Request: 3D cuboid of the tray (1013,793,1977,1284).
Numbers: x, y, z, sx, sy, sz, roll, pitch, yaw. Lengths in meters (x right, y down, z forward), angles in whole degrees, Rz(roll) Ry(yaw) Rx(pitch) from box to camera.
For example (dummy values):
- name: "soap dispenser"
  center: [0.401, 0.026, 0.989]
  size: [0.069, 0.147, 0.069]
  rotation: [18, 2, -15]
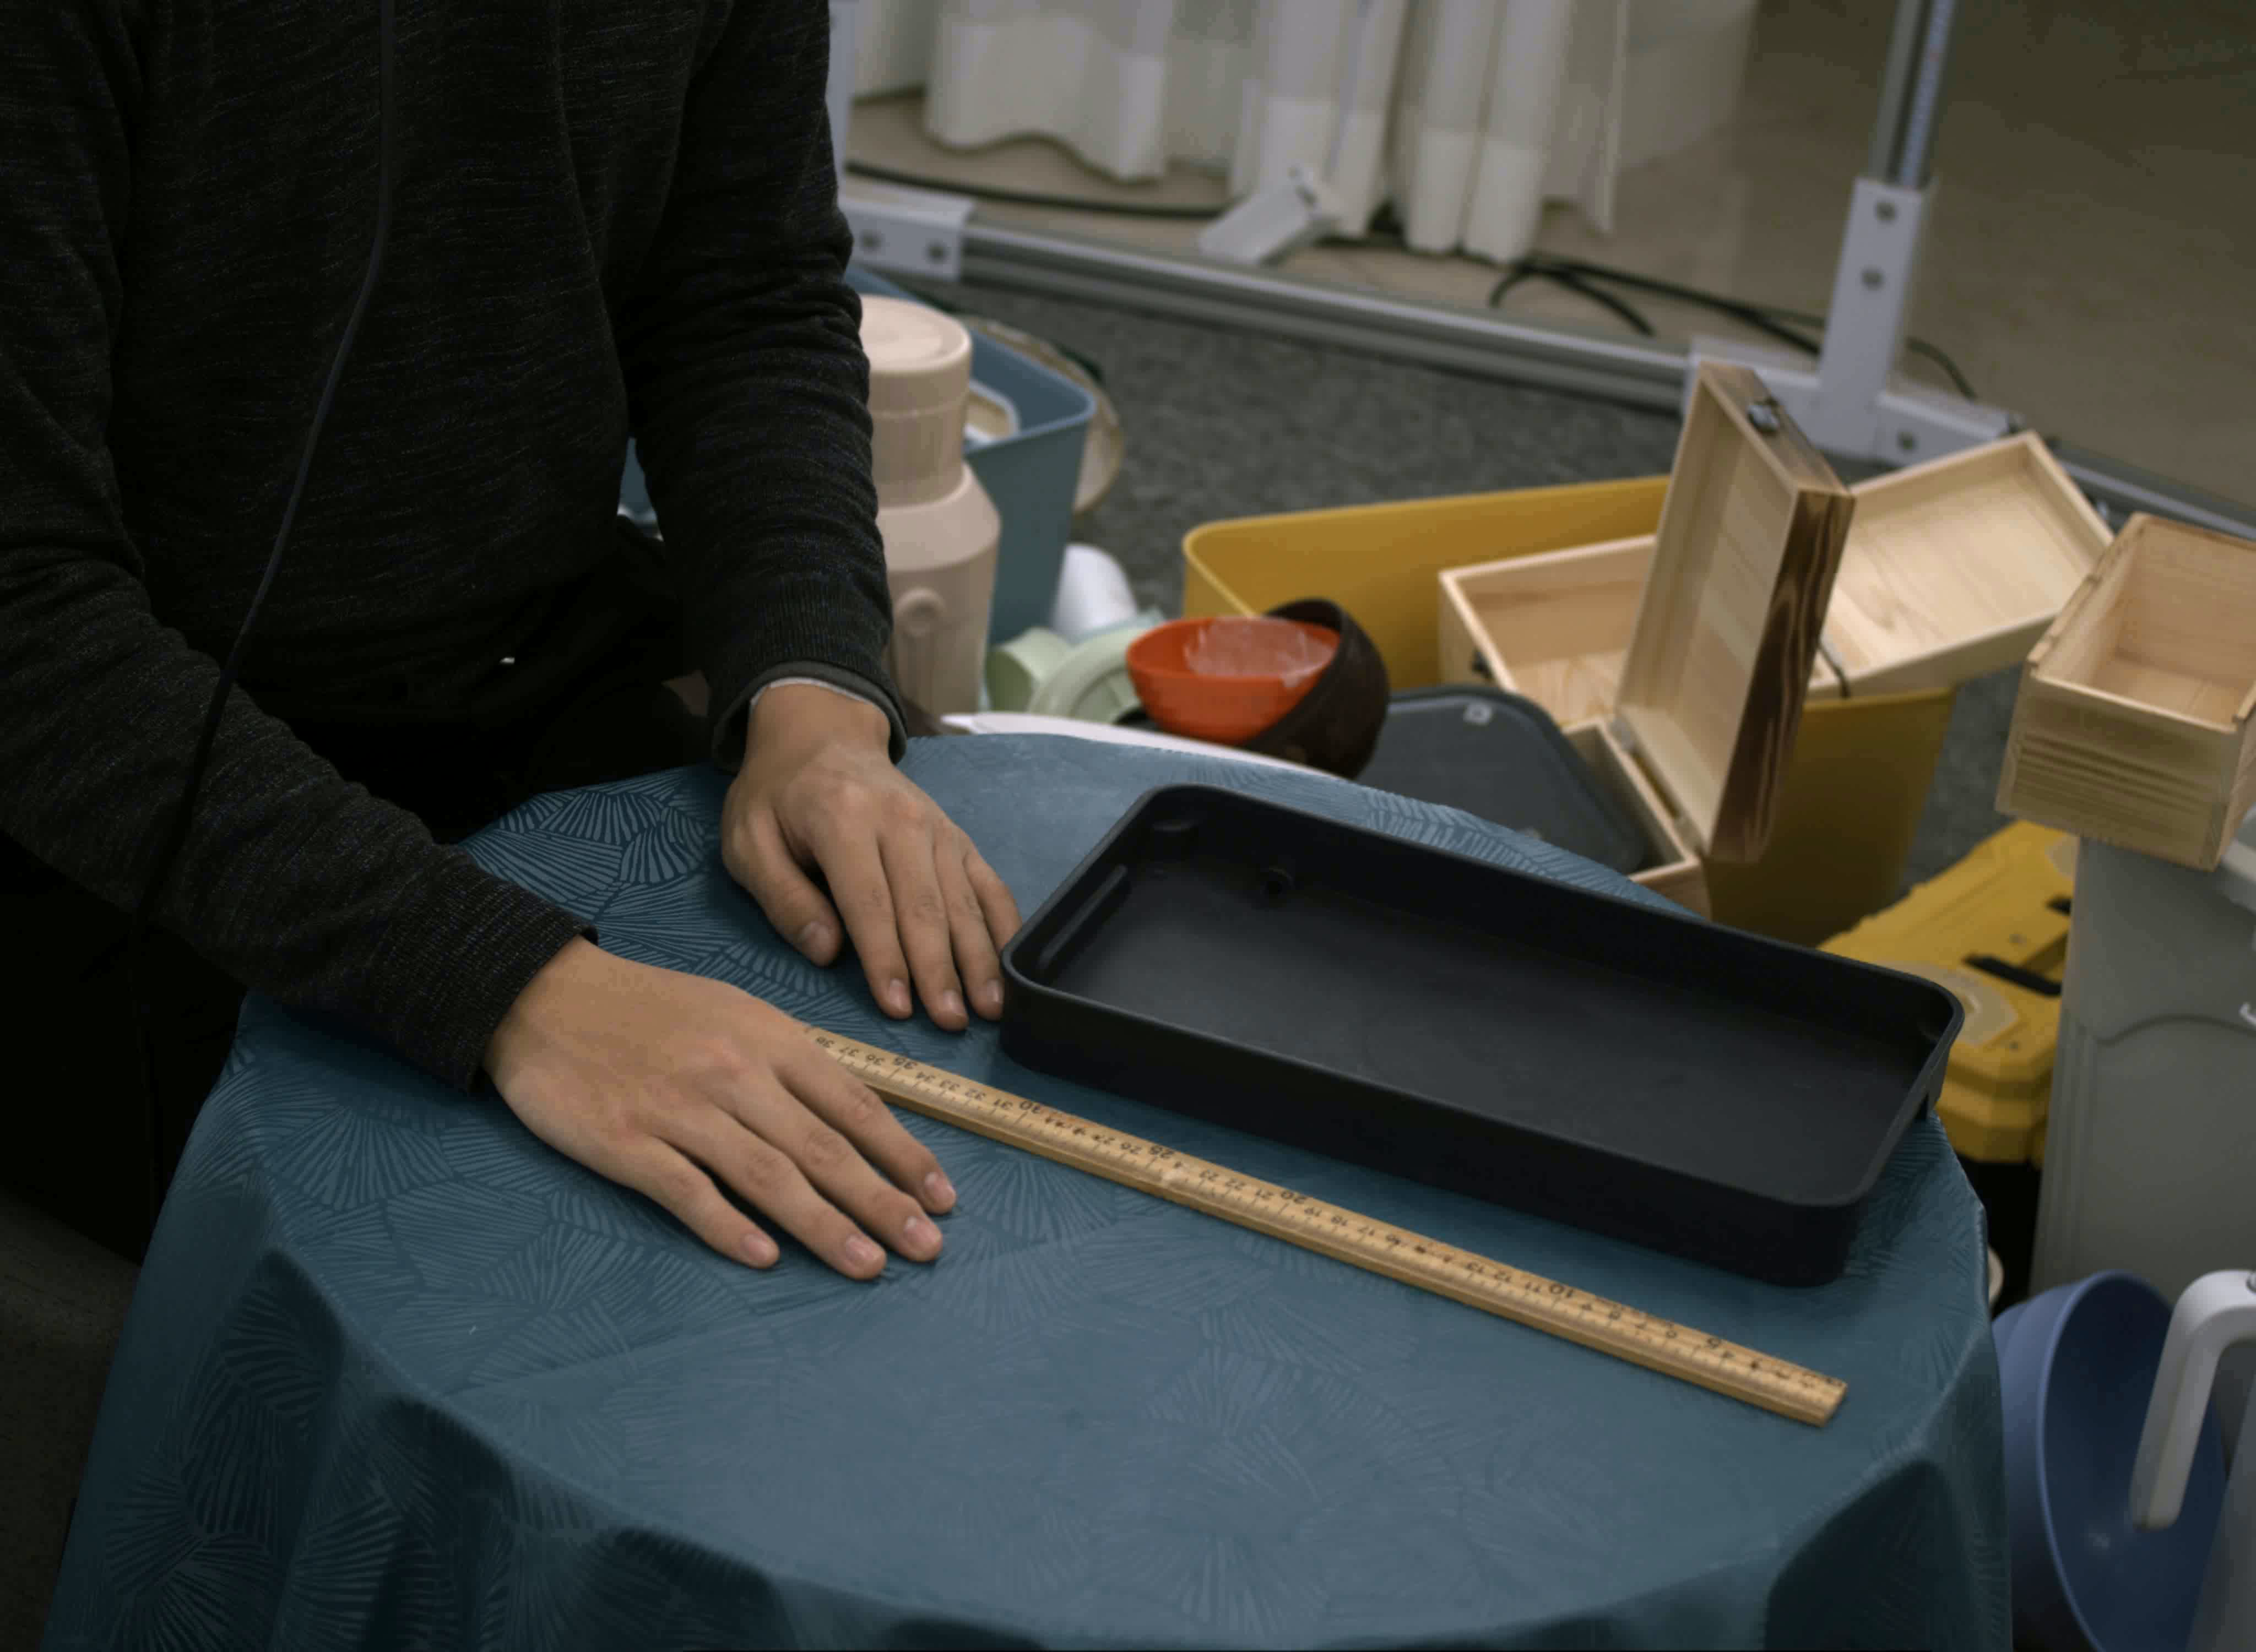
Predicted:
- name: "tray"
  center: [0.131, 0.072, 1.894]
  size: [0.318, 0.037, 0.184]
  rotation: [14, 27, 16]

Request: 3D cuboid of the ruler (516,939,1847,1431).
- name: "ruler"
  center: [0.008, 0.117, 1.811]
  size: [0.502, 0.006, 0.027]
  rotation: [18, 27, 22]
